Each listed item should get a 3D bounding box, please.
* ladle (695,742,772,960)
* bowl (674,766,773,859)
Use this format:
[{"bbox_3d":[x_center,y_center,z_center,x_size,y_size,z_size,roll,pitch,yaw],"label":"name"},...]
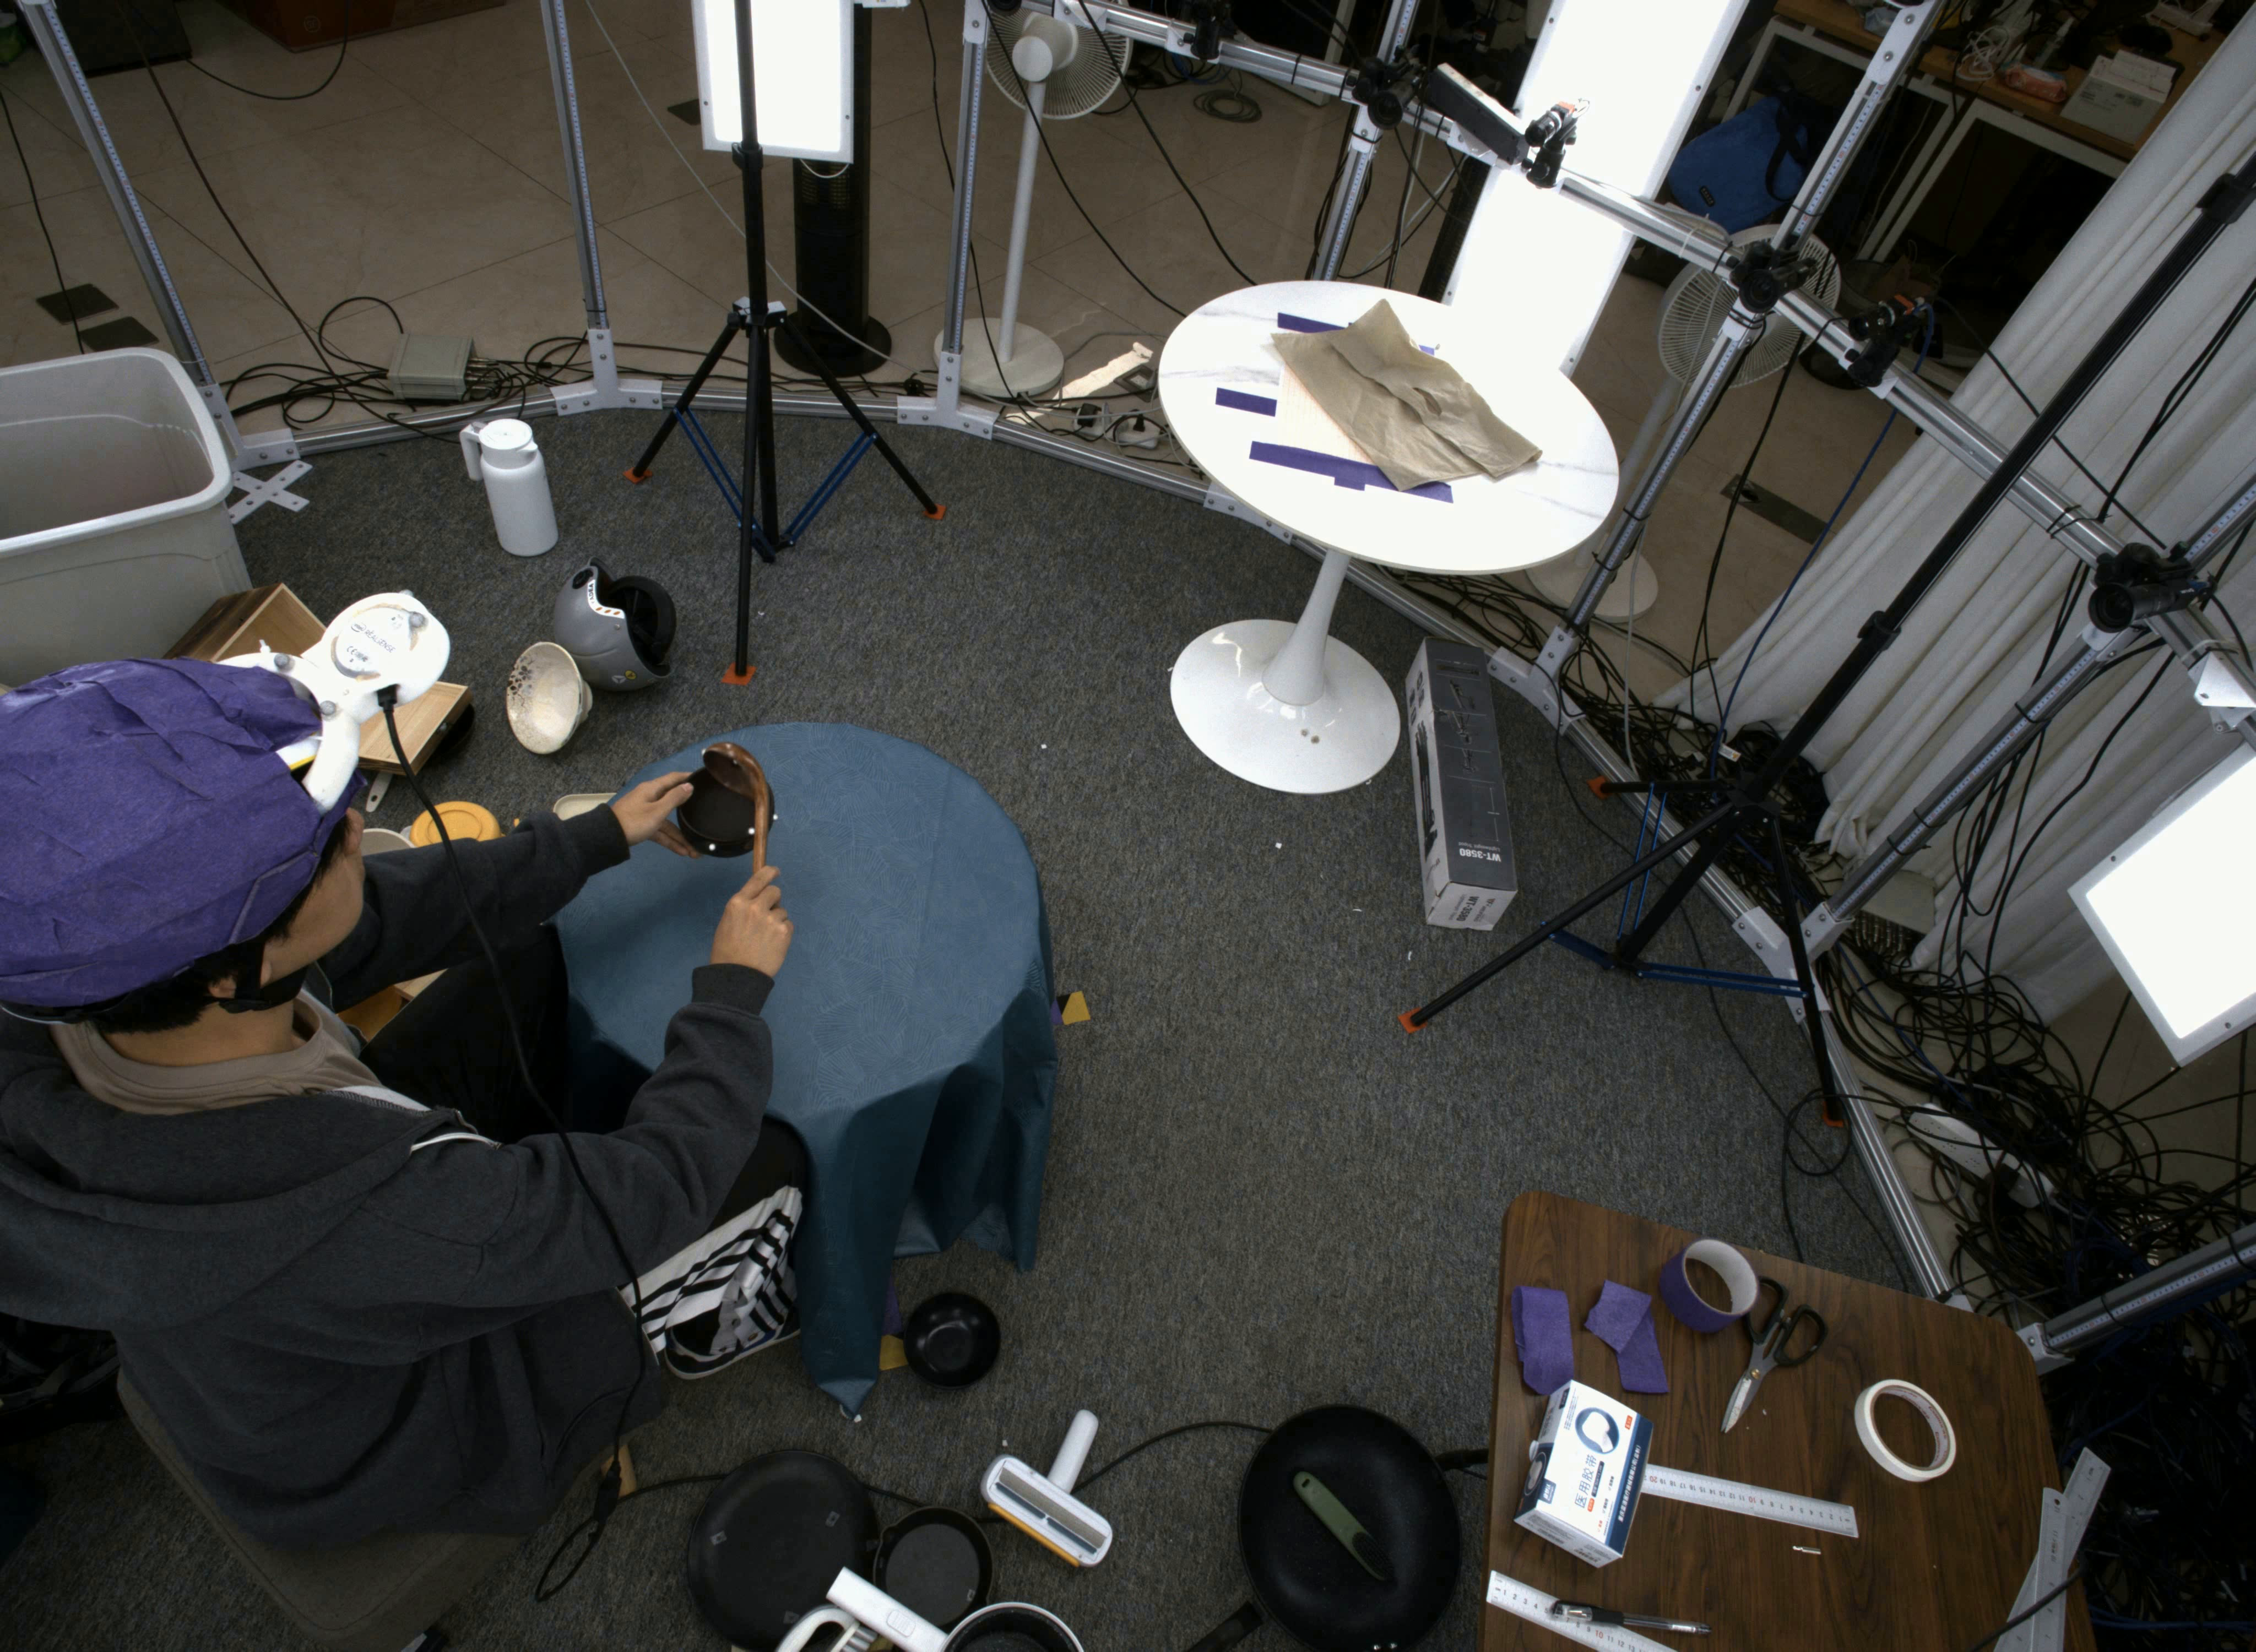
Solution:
[{"bbox_3d":[-0.443,0.024,1.441,0.076,0.084,0.269,-7,61,-8],"label":"ladle"},{"bbox_3d":[-0.494,-0.013,1.577,0.118,0.071,0.116,9,56,-12],"label":"bowl"}]
